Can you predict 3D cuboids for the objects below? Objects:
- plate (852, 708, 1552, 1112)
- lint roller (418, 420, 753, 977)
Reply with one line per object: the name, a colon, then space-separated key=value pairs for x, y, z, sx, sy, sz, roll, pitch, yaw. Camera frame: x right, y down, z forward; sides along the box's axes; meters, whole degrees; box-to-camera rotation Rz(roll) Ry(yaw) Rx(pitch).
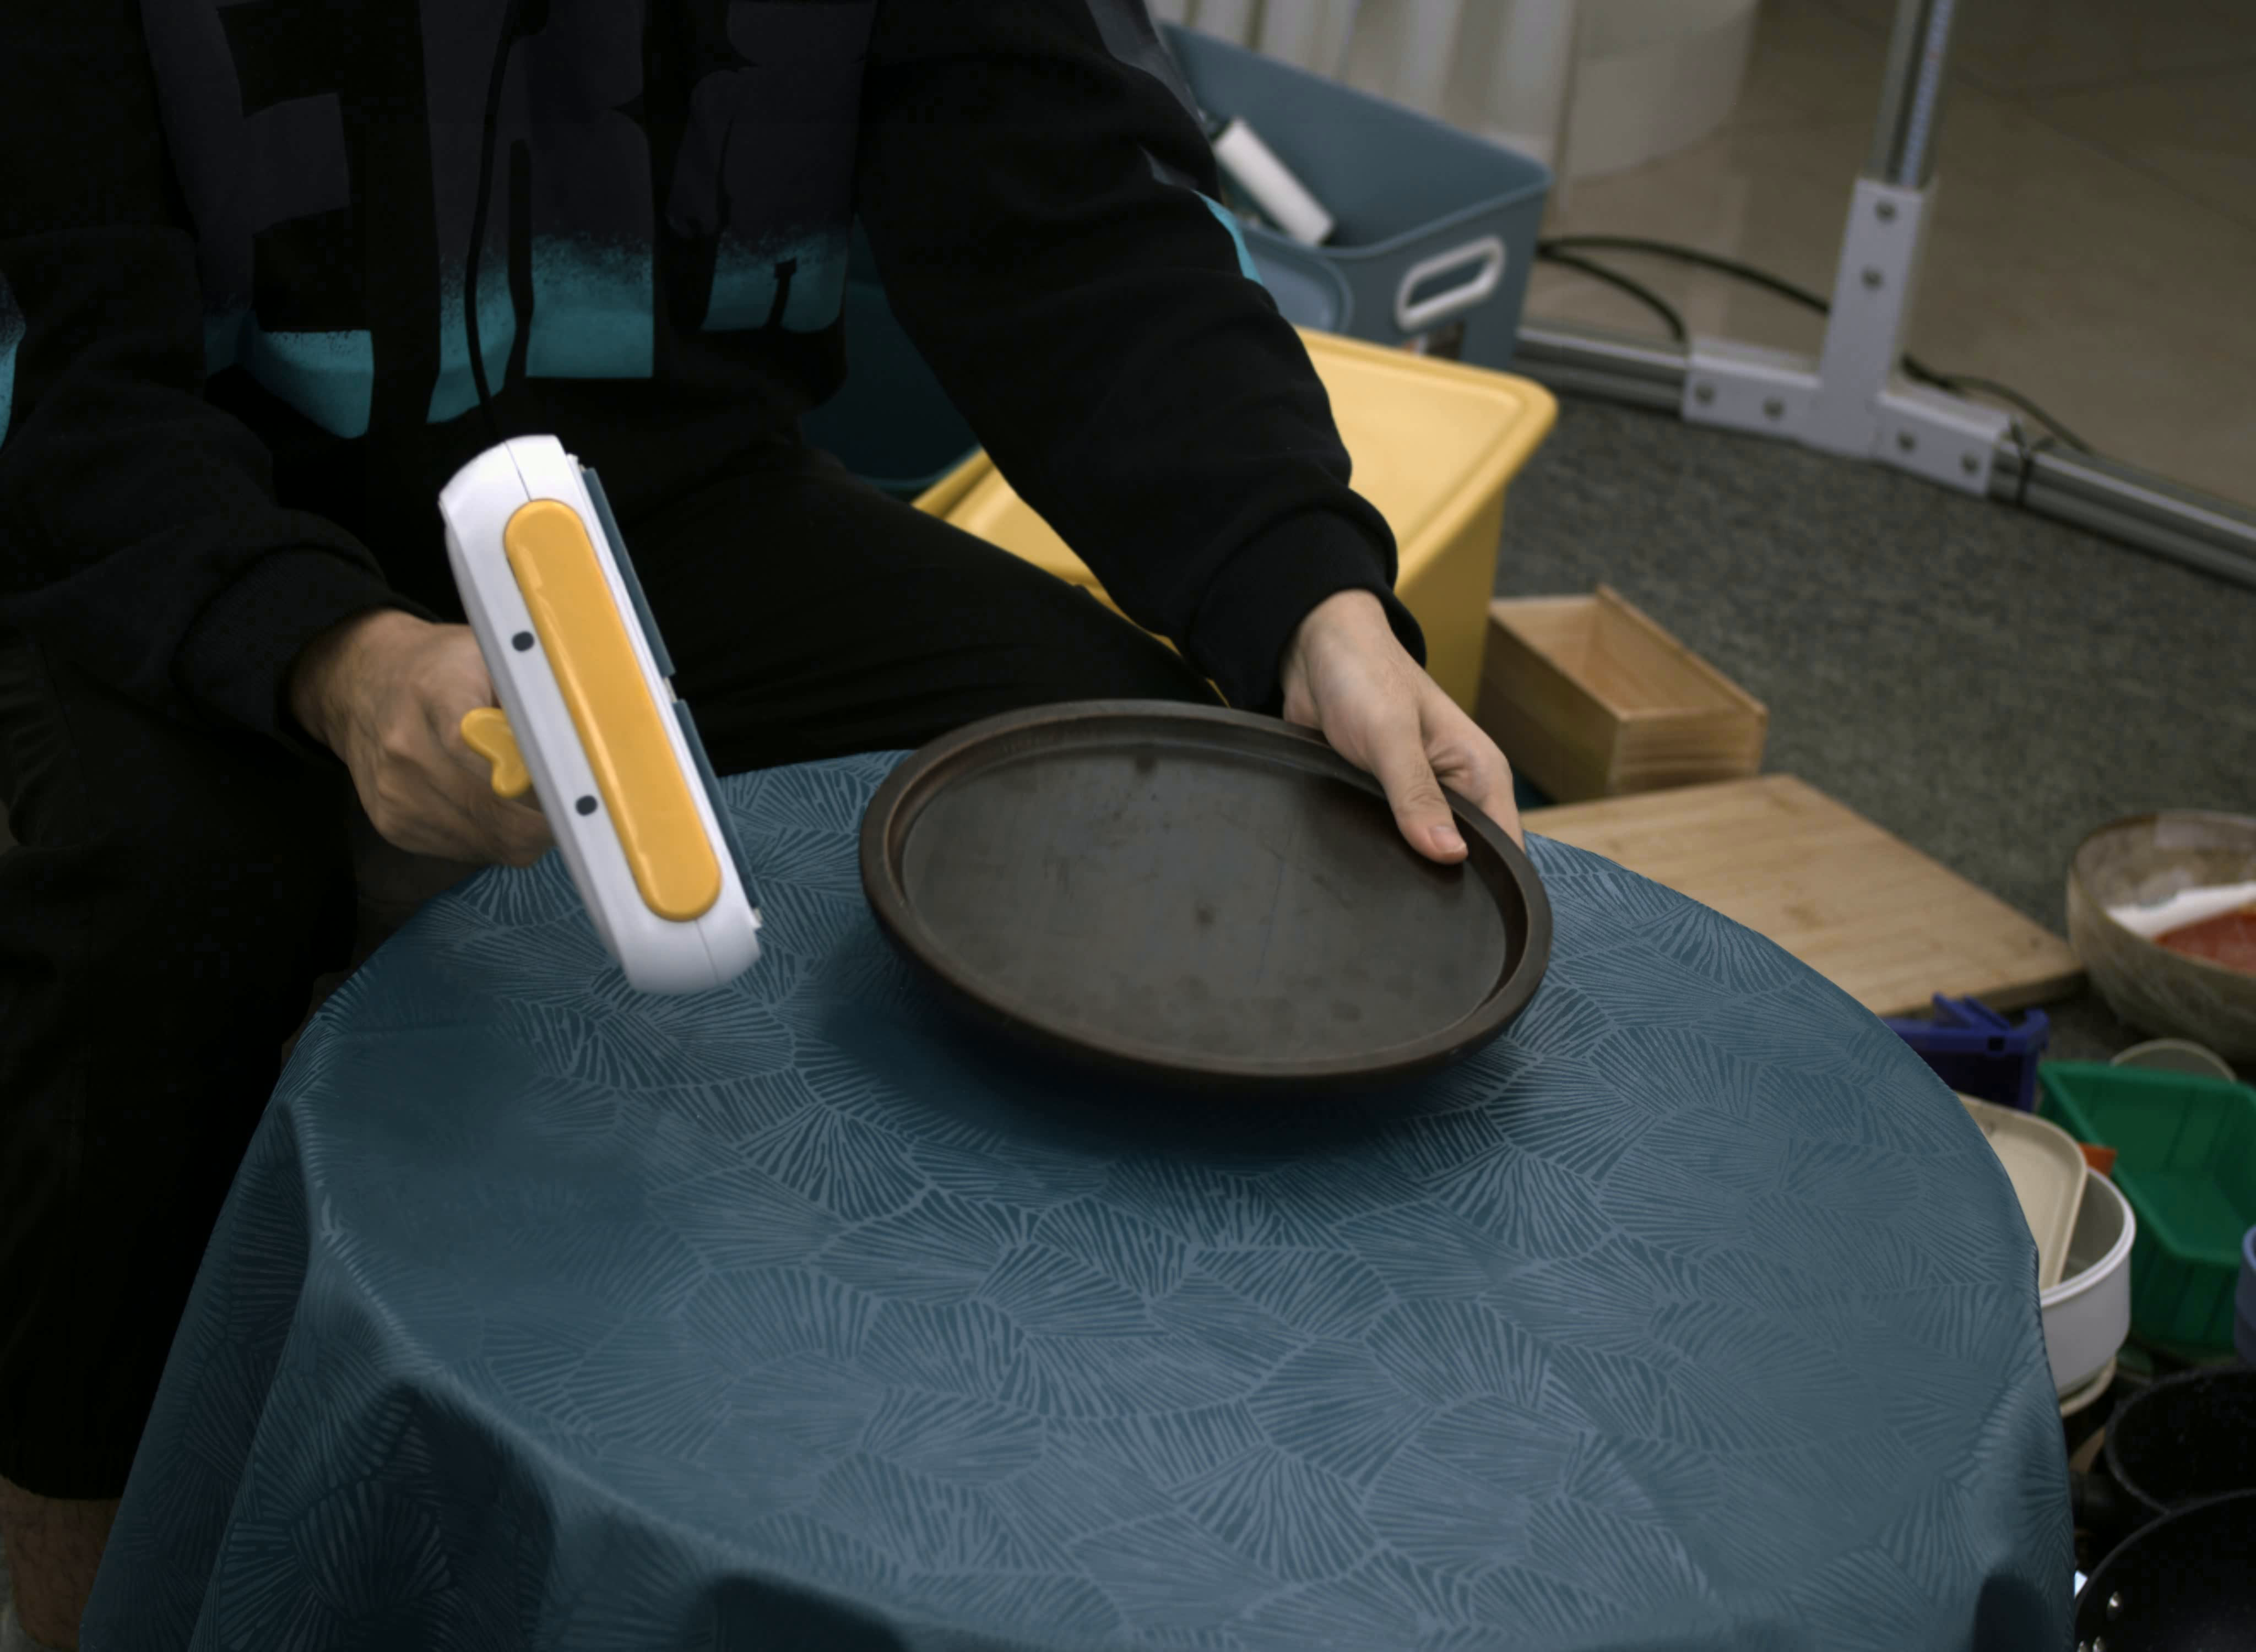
plate: x=0.026 y=0.029 z=1.909 sx=0.254 sy=0.029 sz=0.256 roll=5 pitch=29 yaw=-3
lint roller: x=-0.196 y=-0.028 z=1.810 sx=0.074 sy=0.193 sz=0.192 roll=-26 pitch=-4 yaw=-15
